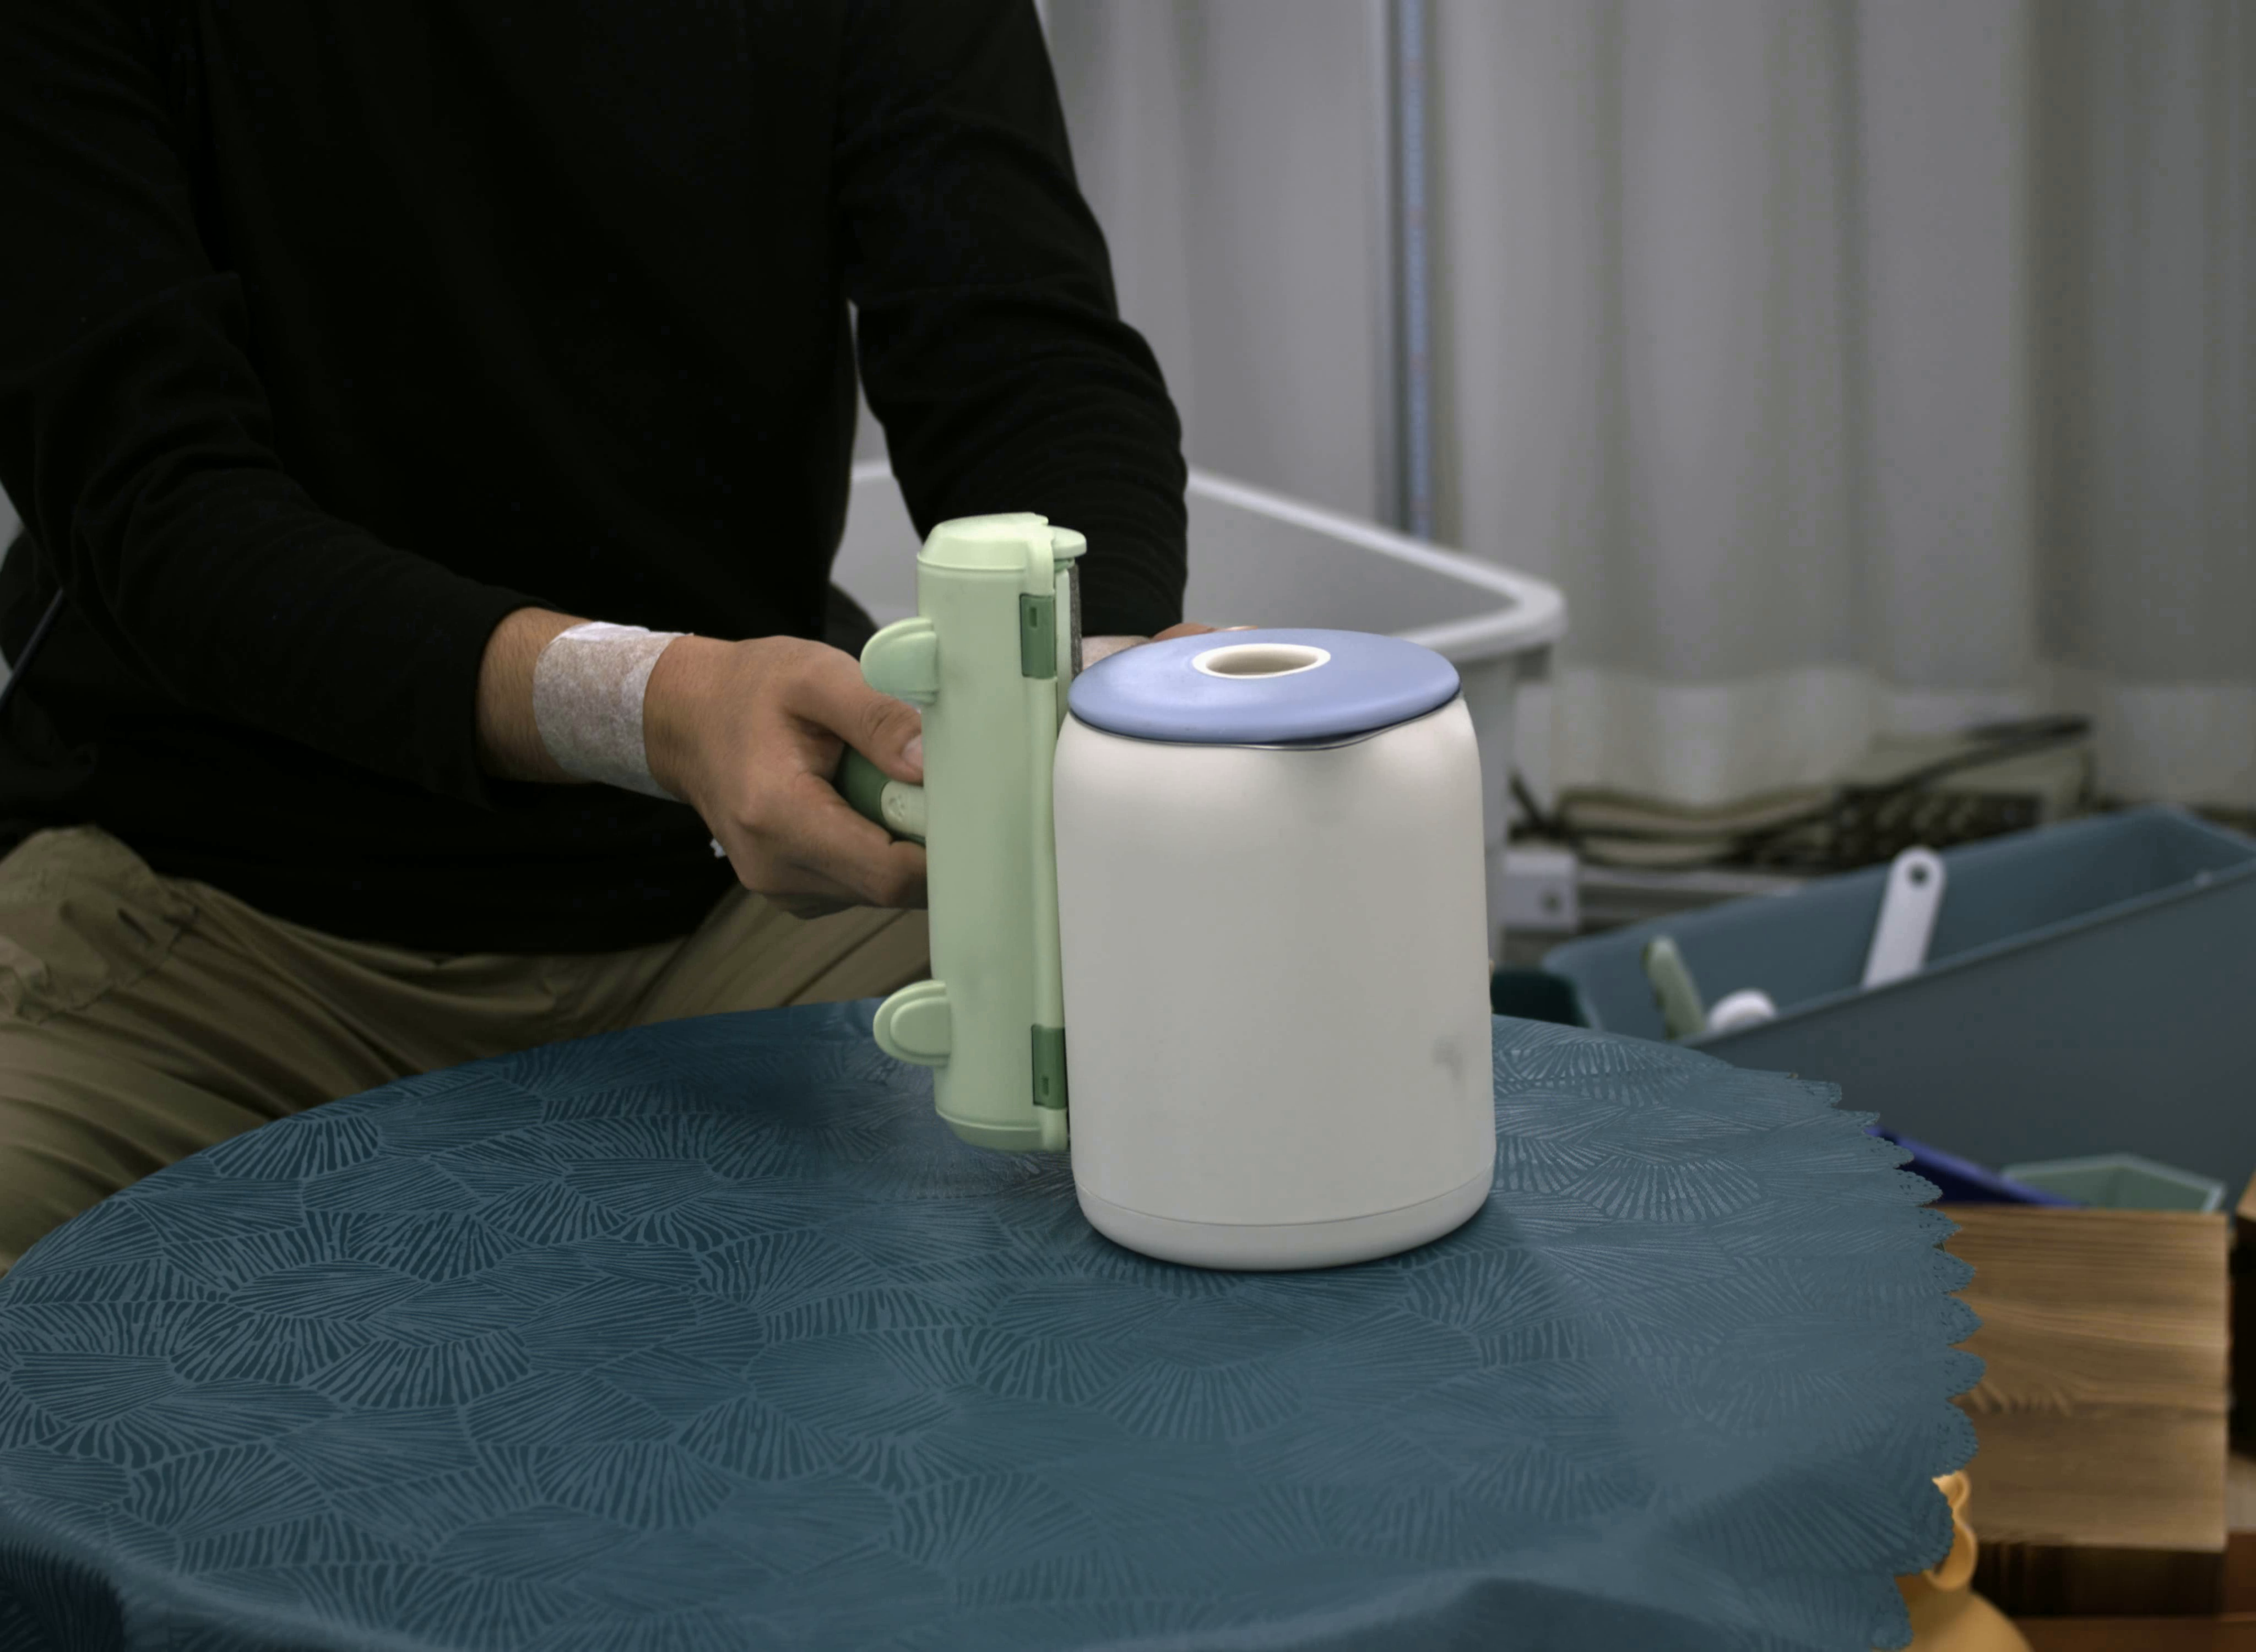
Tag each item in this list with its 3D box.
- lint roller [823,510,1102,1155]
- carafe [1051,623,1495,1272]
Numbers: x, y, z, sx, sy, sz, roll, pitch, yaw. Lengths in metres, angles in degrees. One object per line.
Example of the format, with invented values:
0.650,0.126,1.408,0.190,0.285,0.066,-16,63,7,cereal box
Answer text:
-0.071,-0.005,1.750,0.082,0.198,0.184,-9,13,-33,lint roller
0.037,0.031,1.692,0.131,0.182,0.192,-6,12,-16,carafe
